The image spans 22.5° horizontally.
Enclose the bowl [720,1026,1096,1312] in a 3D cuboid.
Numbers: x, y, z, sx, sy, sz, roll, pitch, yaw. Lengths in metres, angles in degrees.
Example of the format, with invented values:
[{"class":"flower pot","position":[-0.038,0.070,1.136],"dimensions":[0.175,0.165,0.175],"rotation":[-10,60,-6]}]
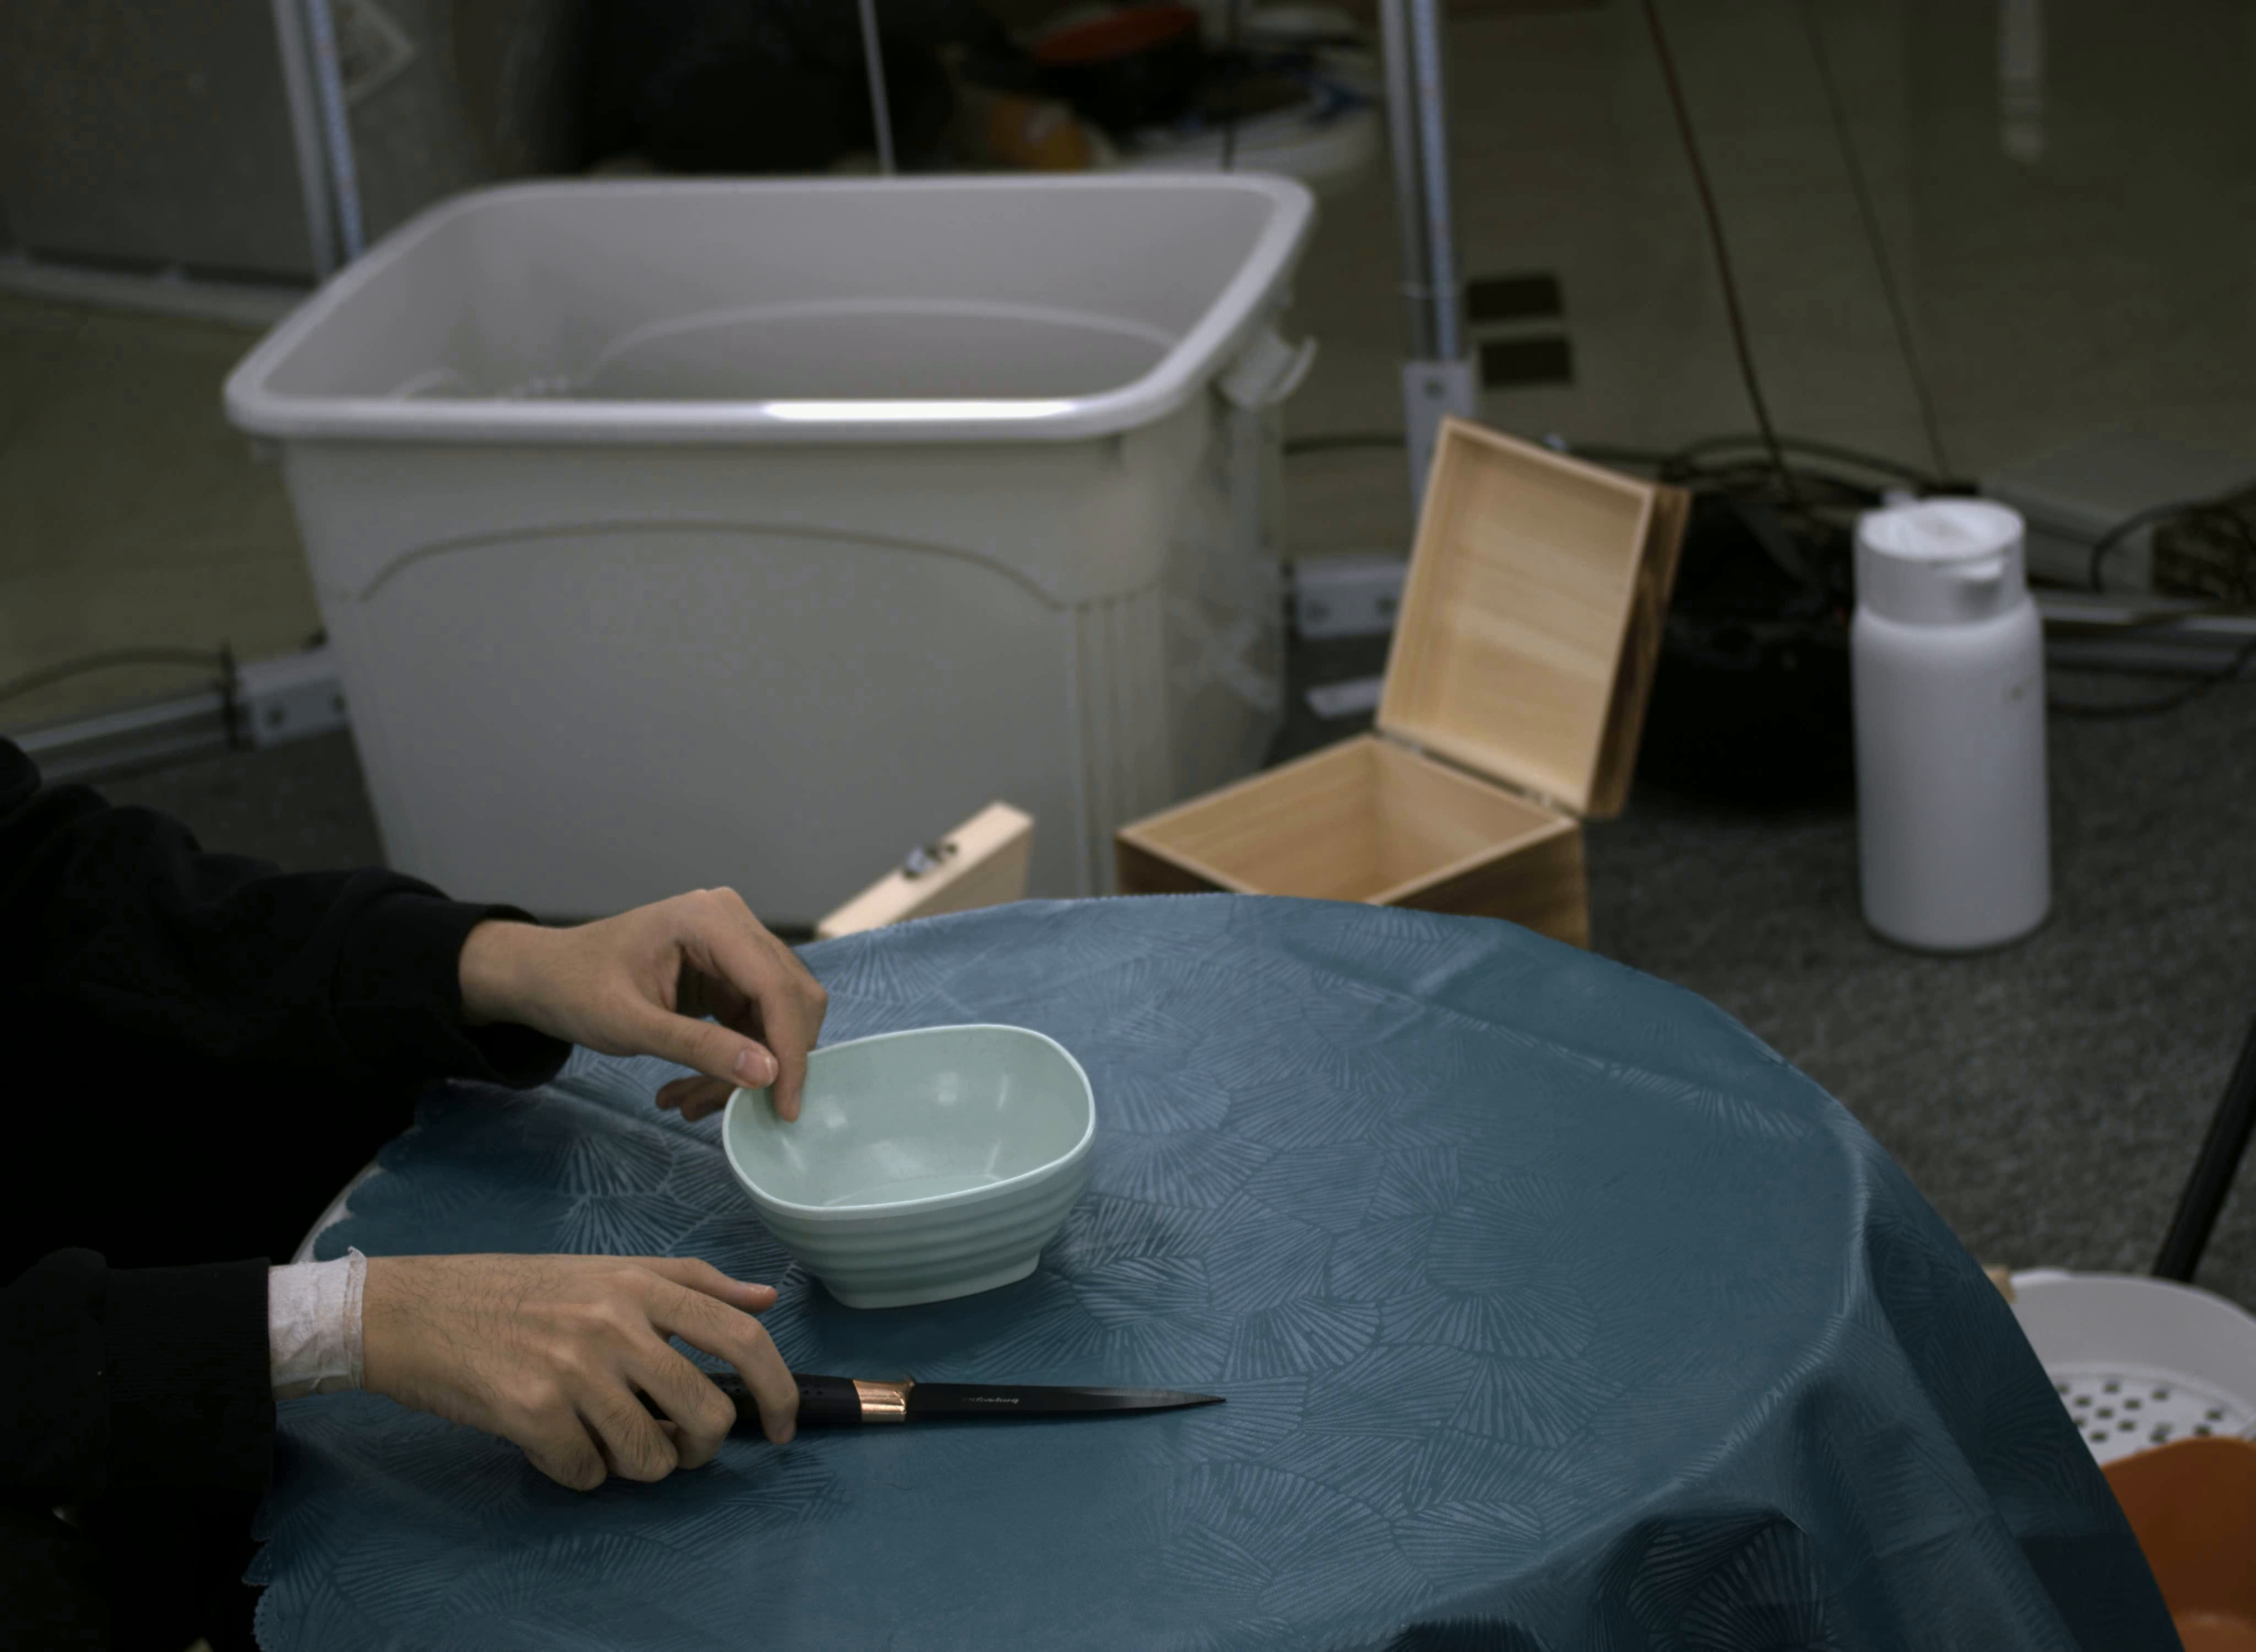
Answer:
[{"class":"bowl","position":[-0.079,0.134,2.112],"dimensions":[0.151,0.059,0.149],"rotation":[-5,27,2]}]

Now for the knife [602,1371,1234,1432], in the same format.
[{"class":"knife","position":[-0.075,0.203,2.016],"dimensions":[0.225,0.017,0.026],"rotation":[-3,19,5]}]
